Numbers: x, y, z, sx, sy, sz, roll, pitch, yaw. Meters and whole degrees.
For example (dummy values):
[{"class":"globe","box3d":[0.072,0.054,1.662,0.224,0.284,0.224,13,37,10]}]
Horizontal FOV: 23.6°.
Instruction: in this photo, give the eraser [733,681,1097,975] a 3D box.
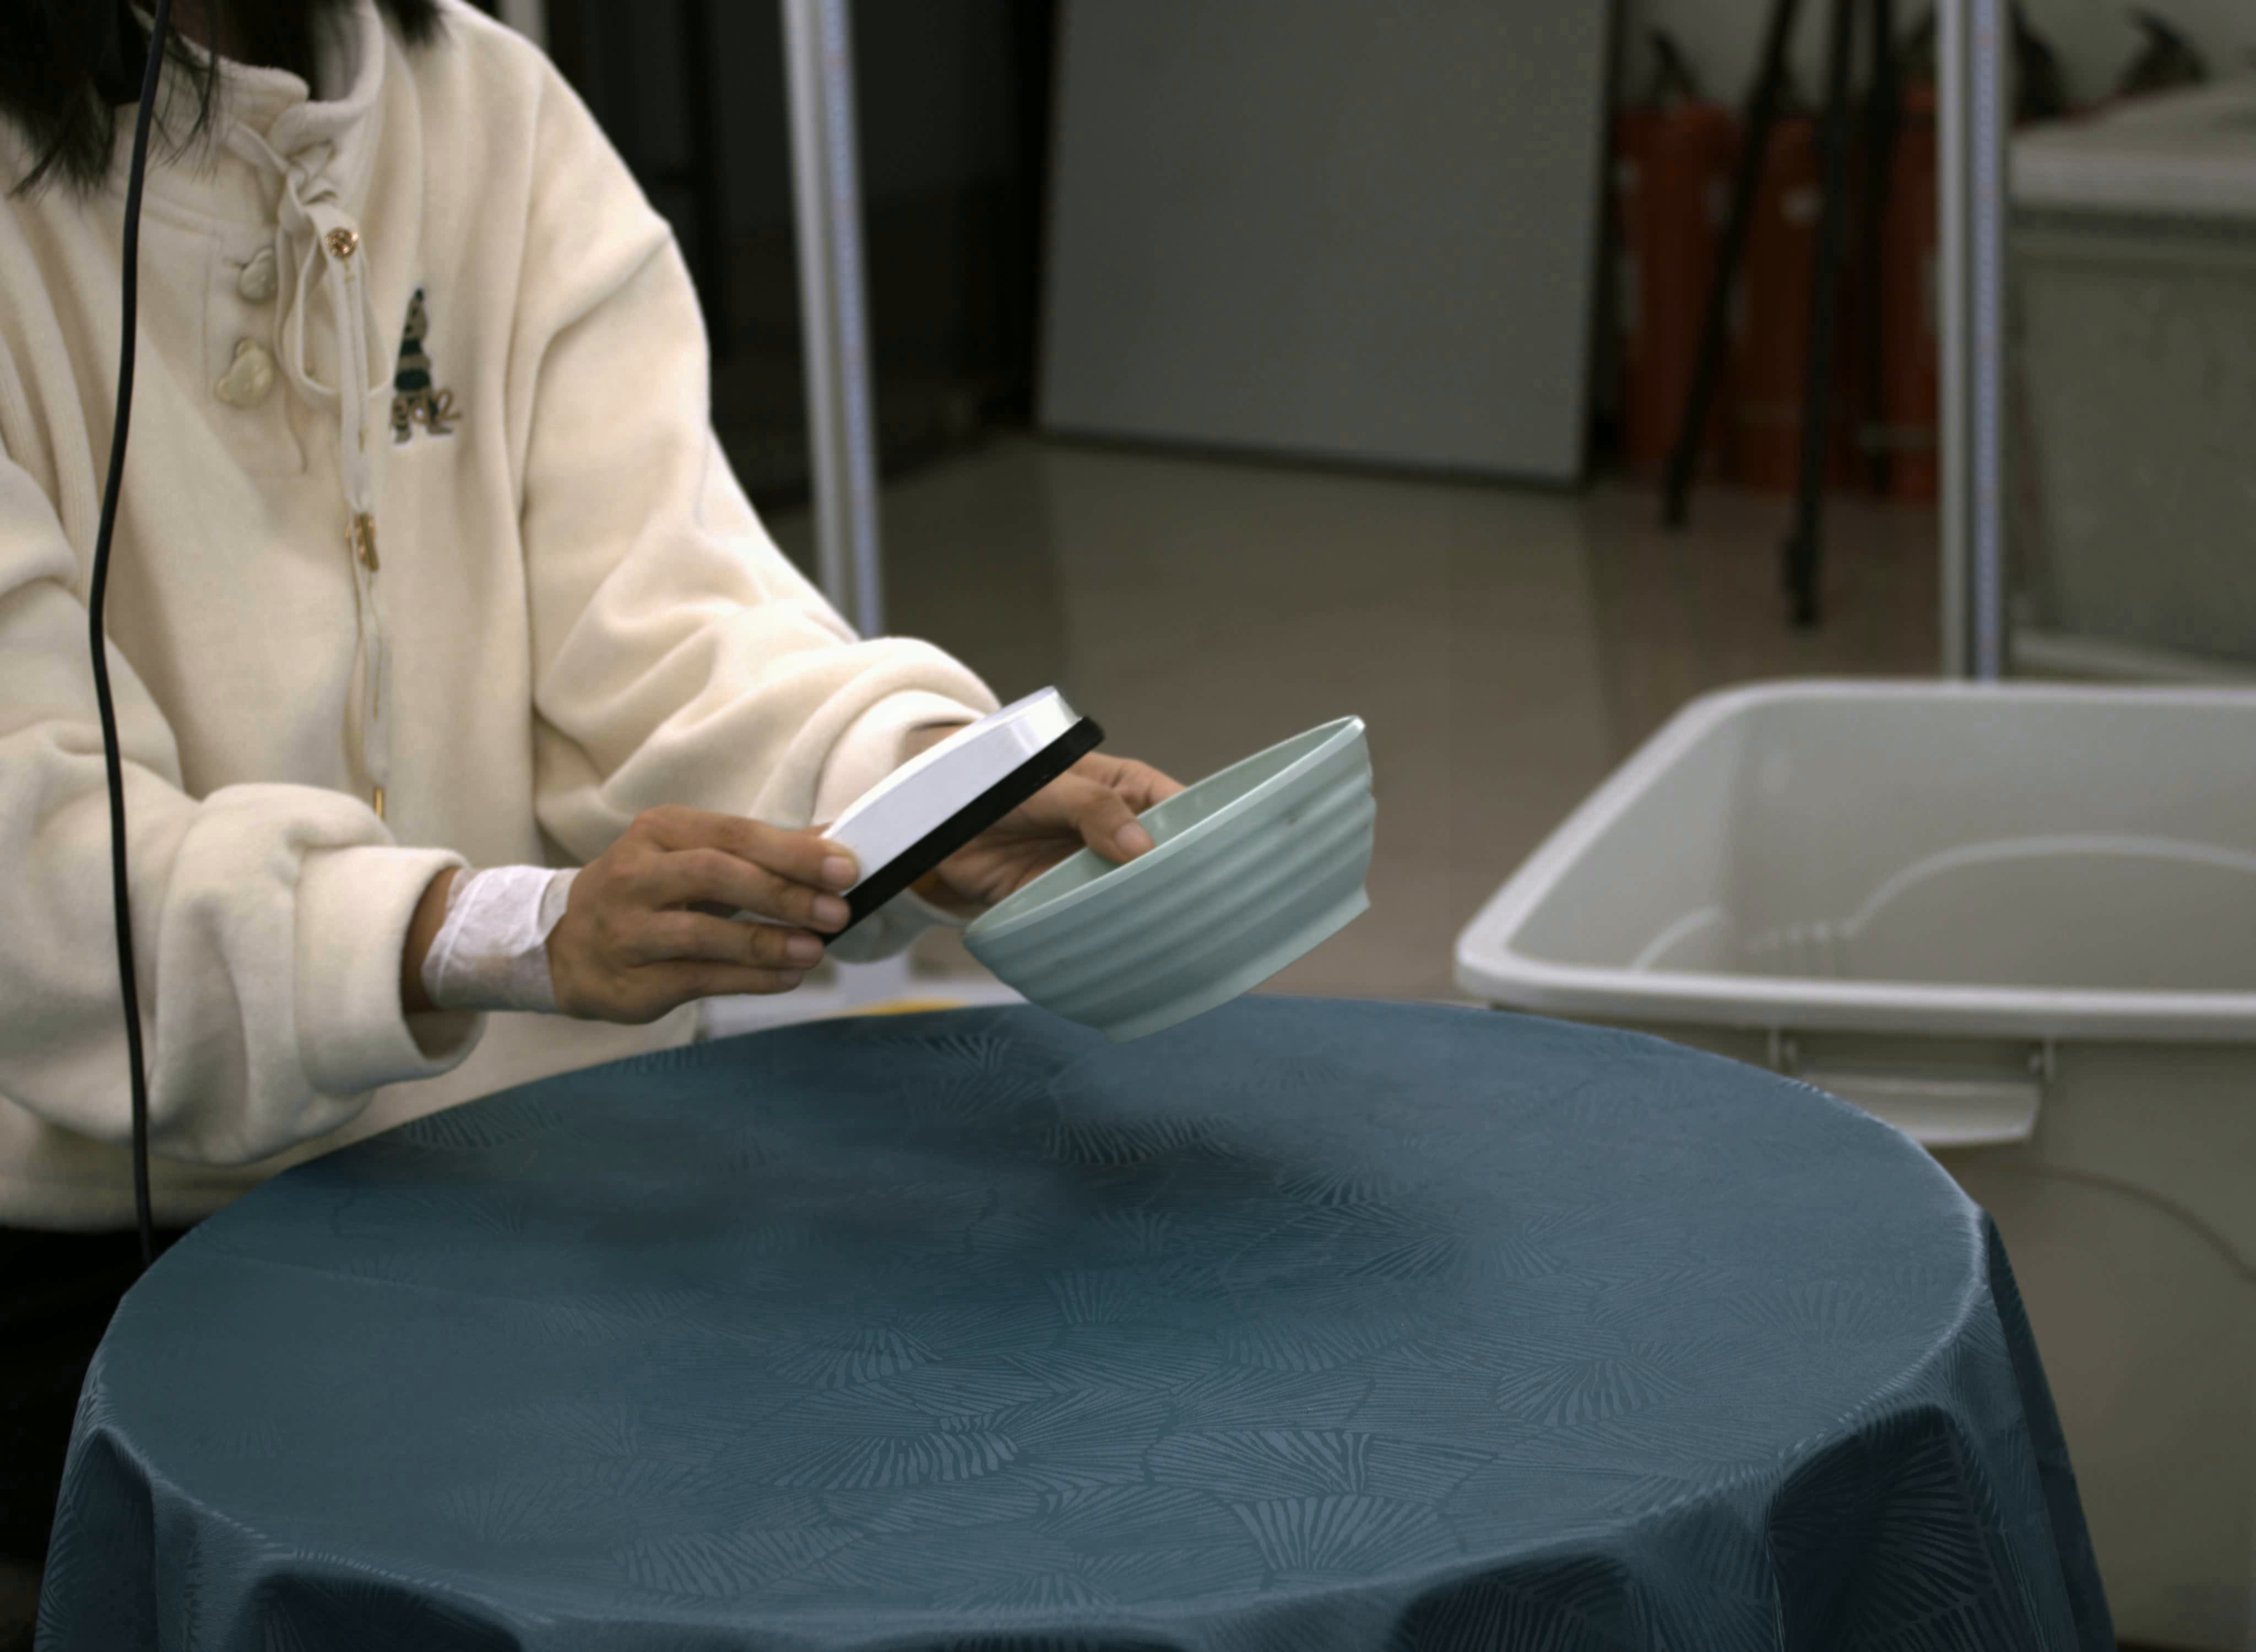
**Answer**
[{"class":"eraser","box3d":[-0.070,-0.002,1.756,0.132,0.034,0.063,-36,0,21]}]

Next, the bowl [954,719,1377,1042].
[{"class":"bowl","box3d":[0.022,0.024,1.757,0.150,0.059,0.151,-27,3,0]}]
